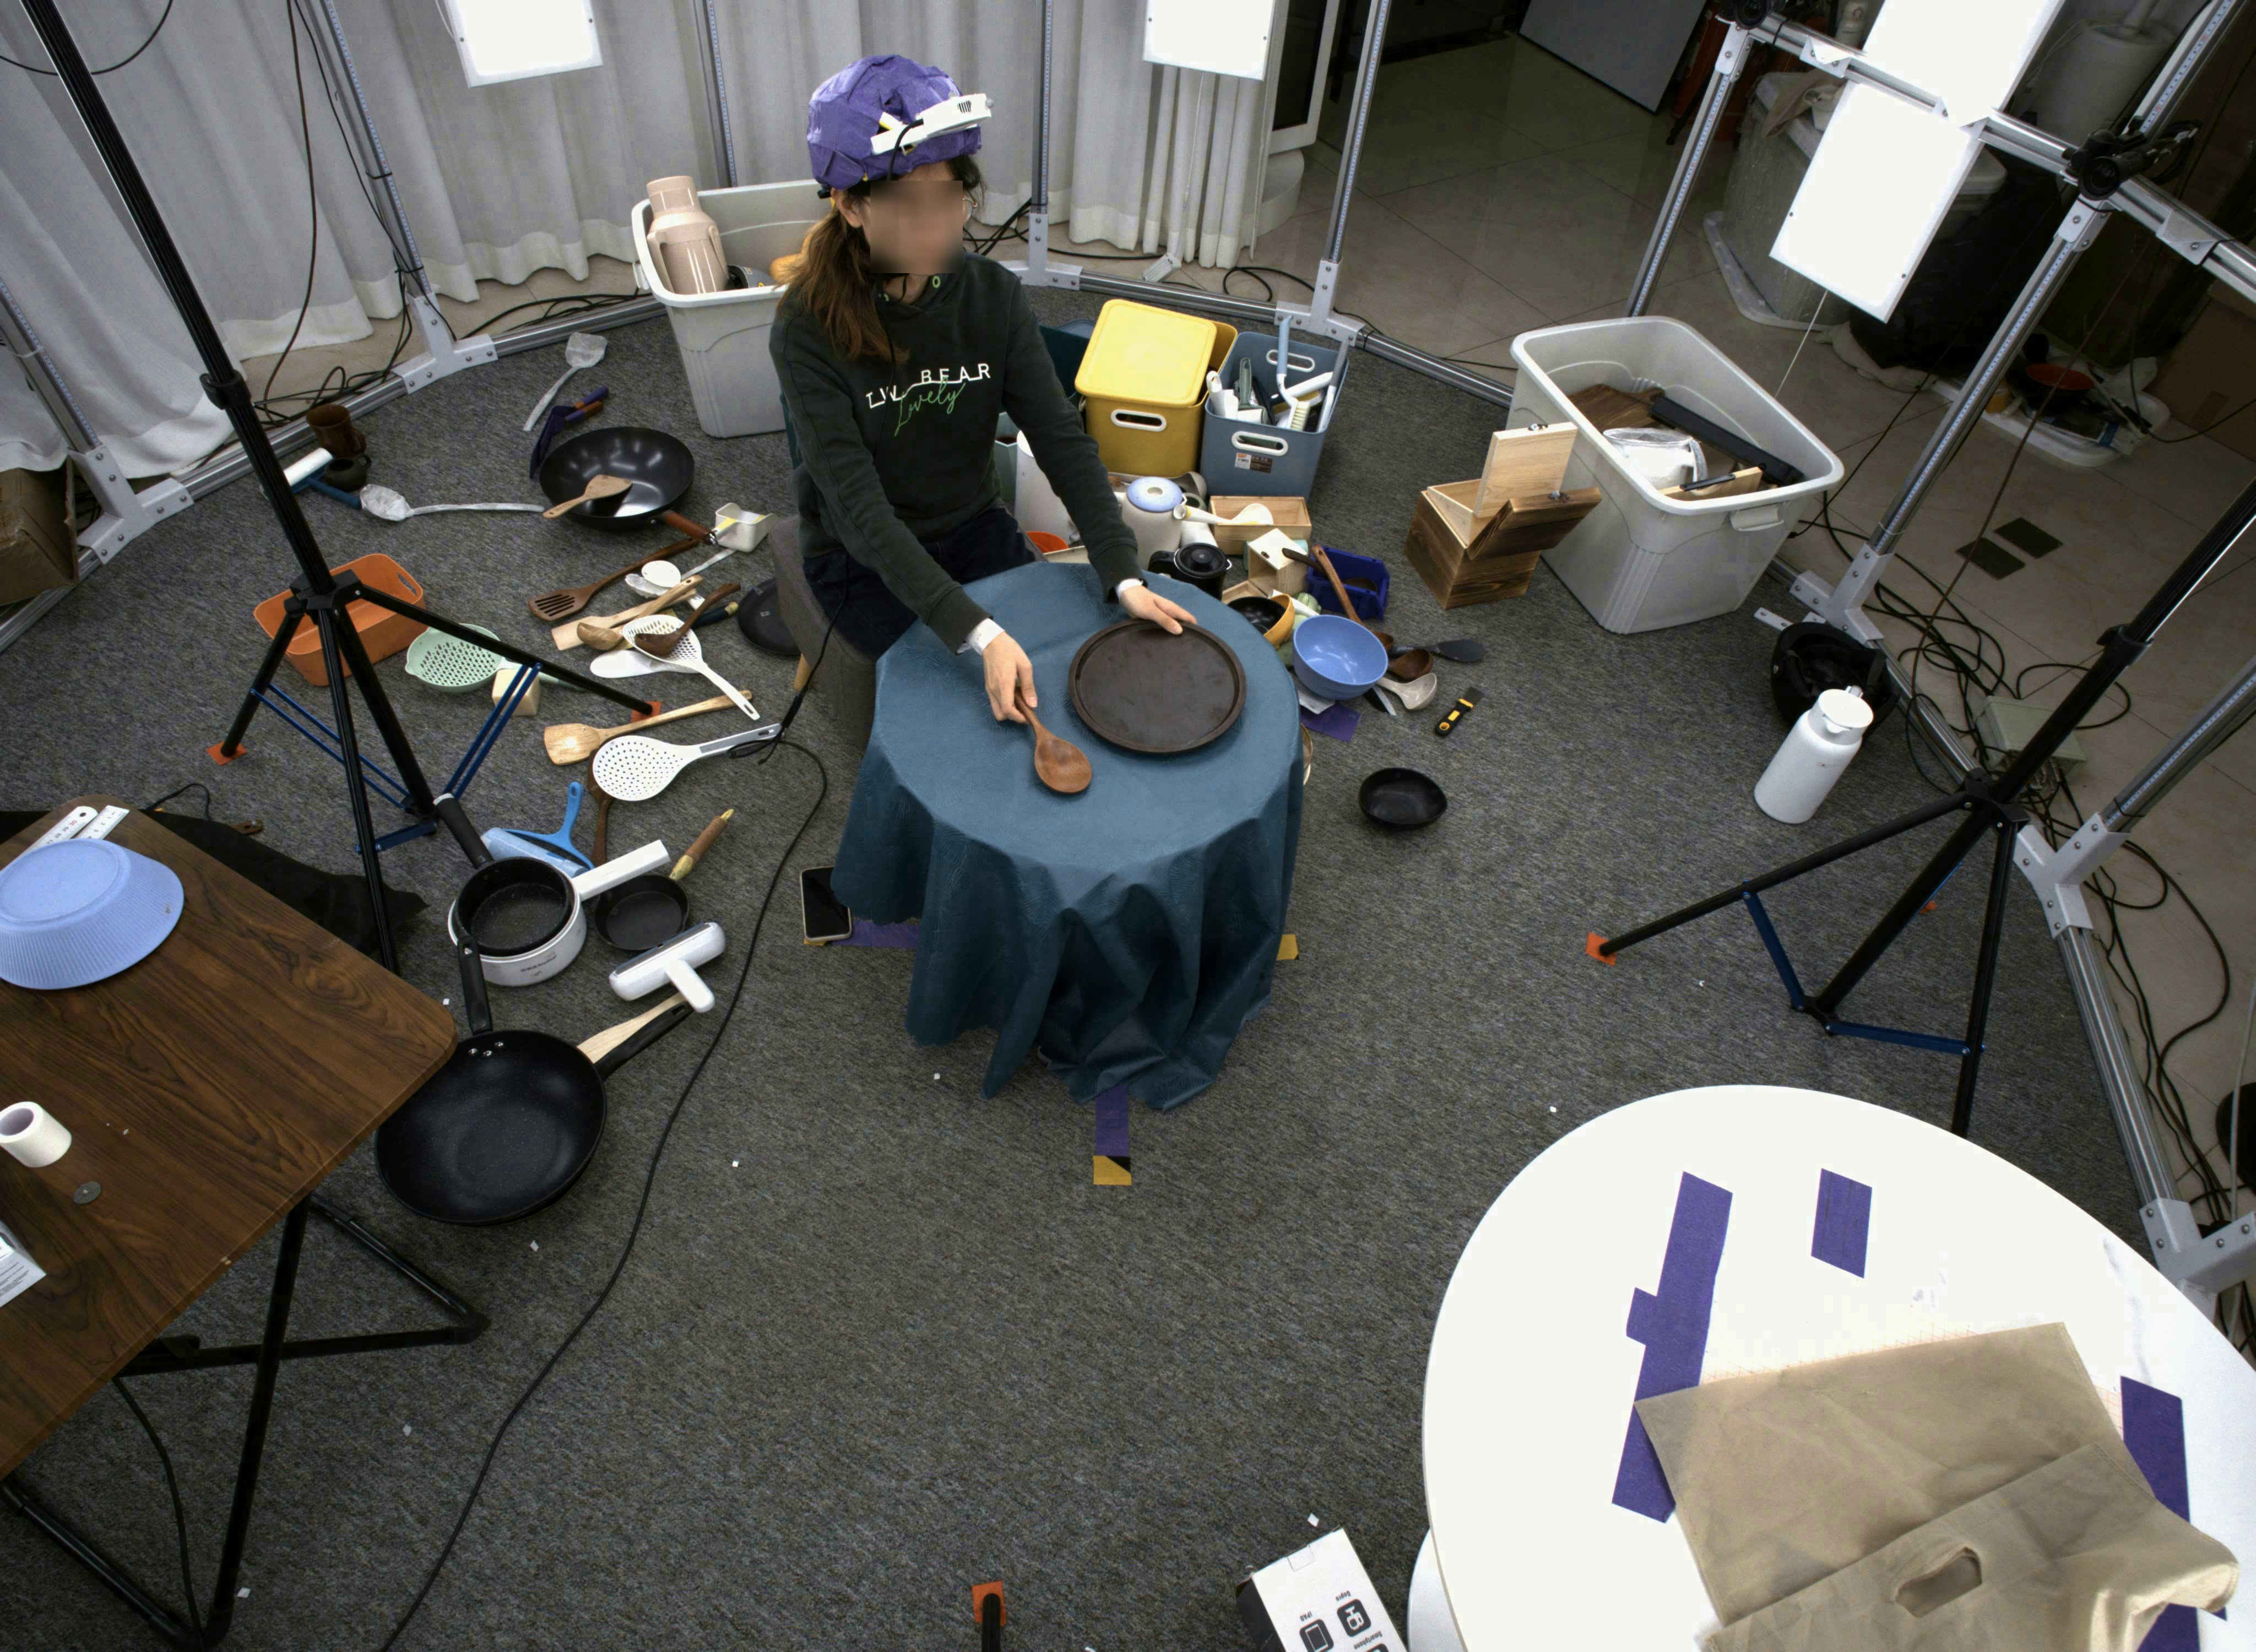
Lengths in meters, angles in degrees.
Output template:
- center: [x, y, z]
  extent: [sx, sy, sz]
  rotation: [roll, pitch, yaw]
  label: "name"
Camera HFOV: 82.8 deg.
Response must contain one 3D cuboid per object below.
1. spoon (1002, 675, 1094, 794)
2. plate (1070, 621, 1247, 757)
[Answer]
- center: [-0.117, -0.126, 1.760]
  extent: [0.075, 0.017, 0.220]
  rotation: [-20, 61, -23]
  label: "spoon"
- center: [0.043, -0.197, 1.833]
  extent: [0.254, 0.028, 0.261]
  rotation: [2, 53, -2]
  label: "plate"
